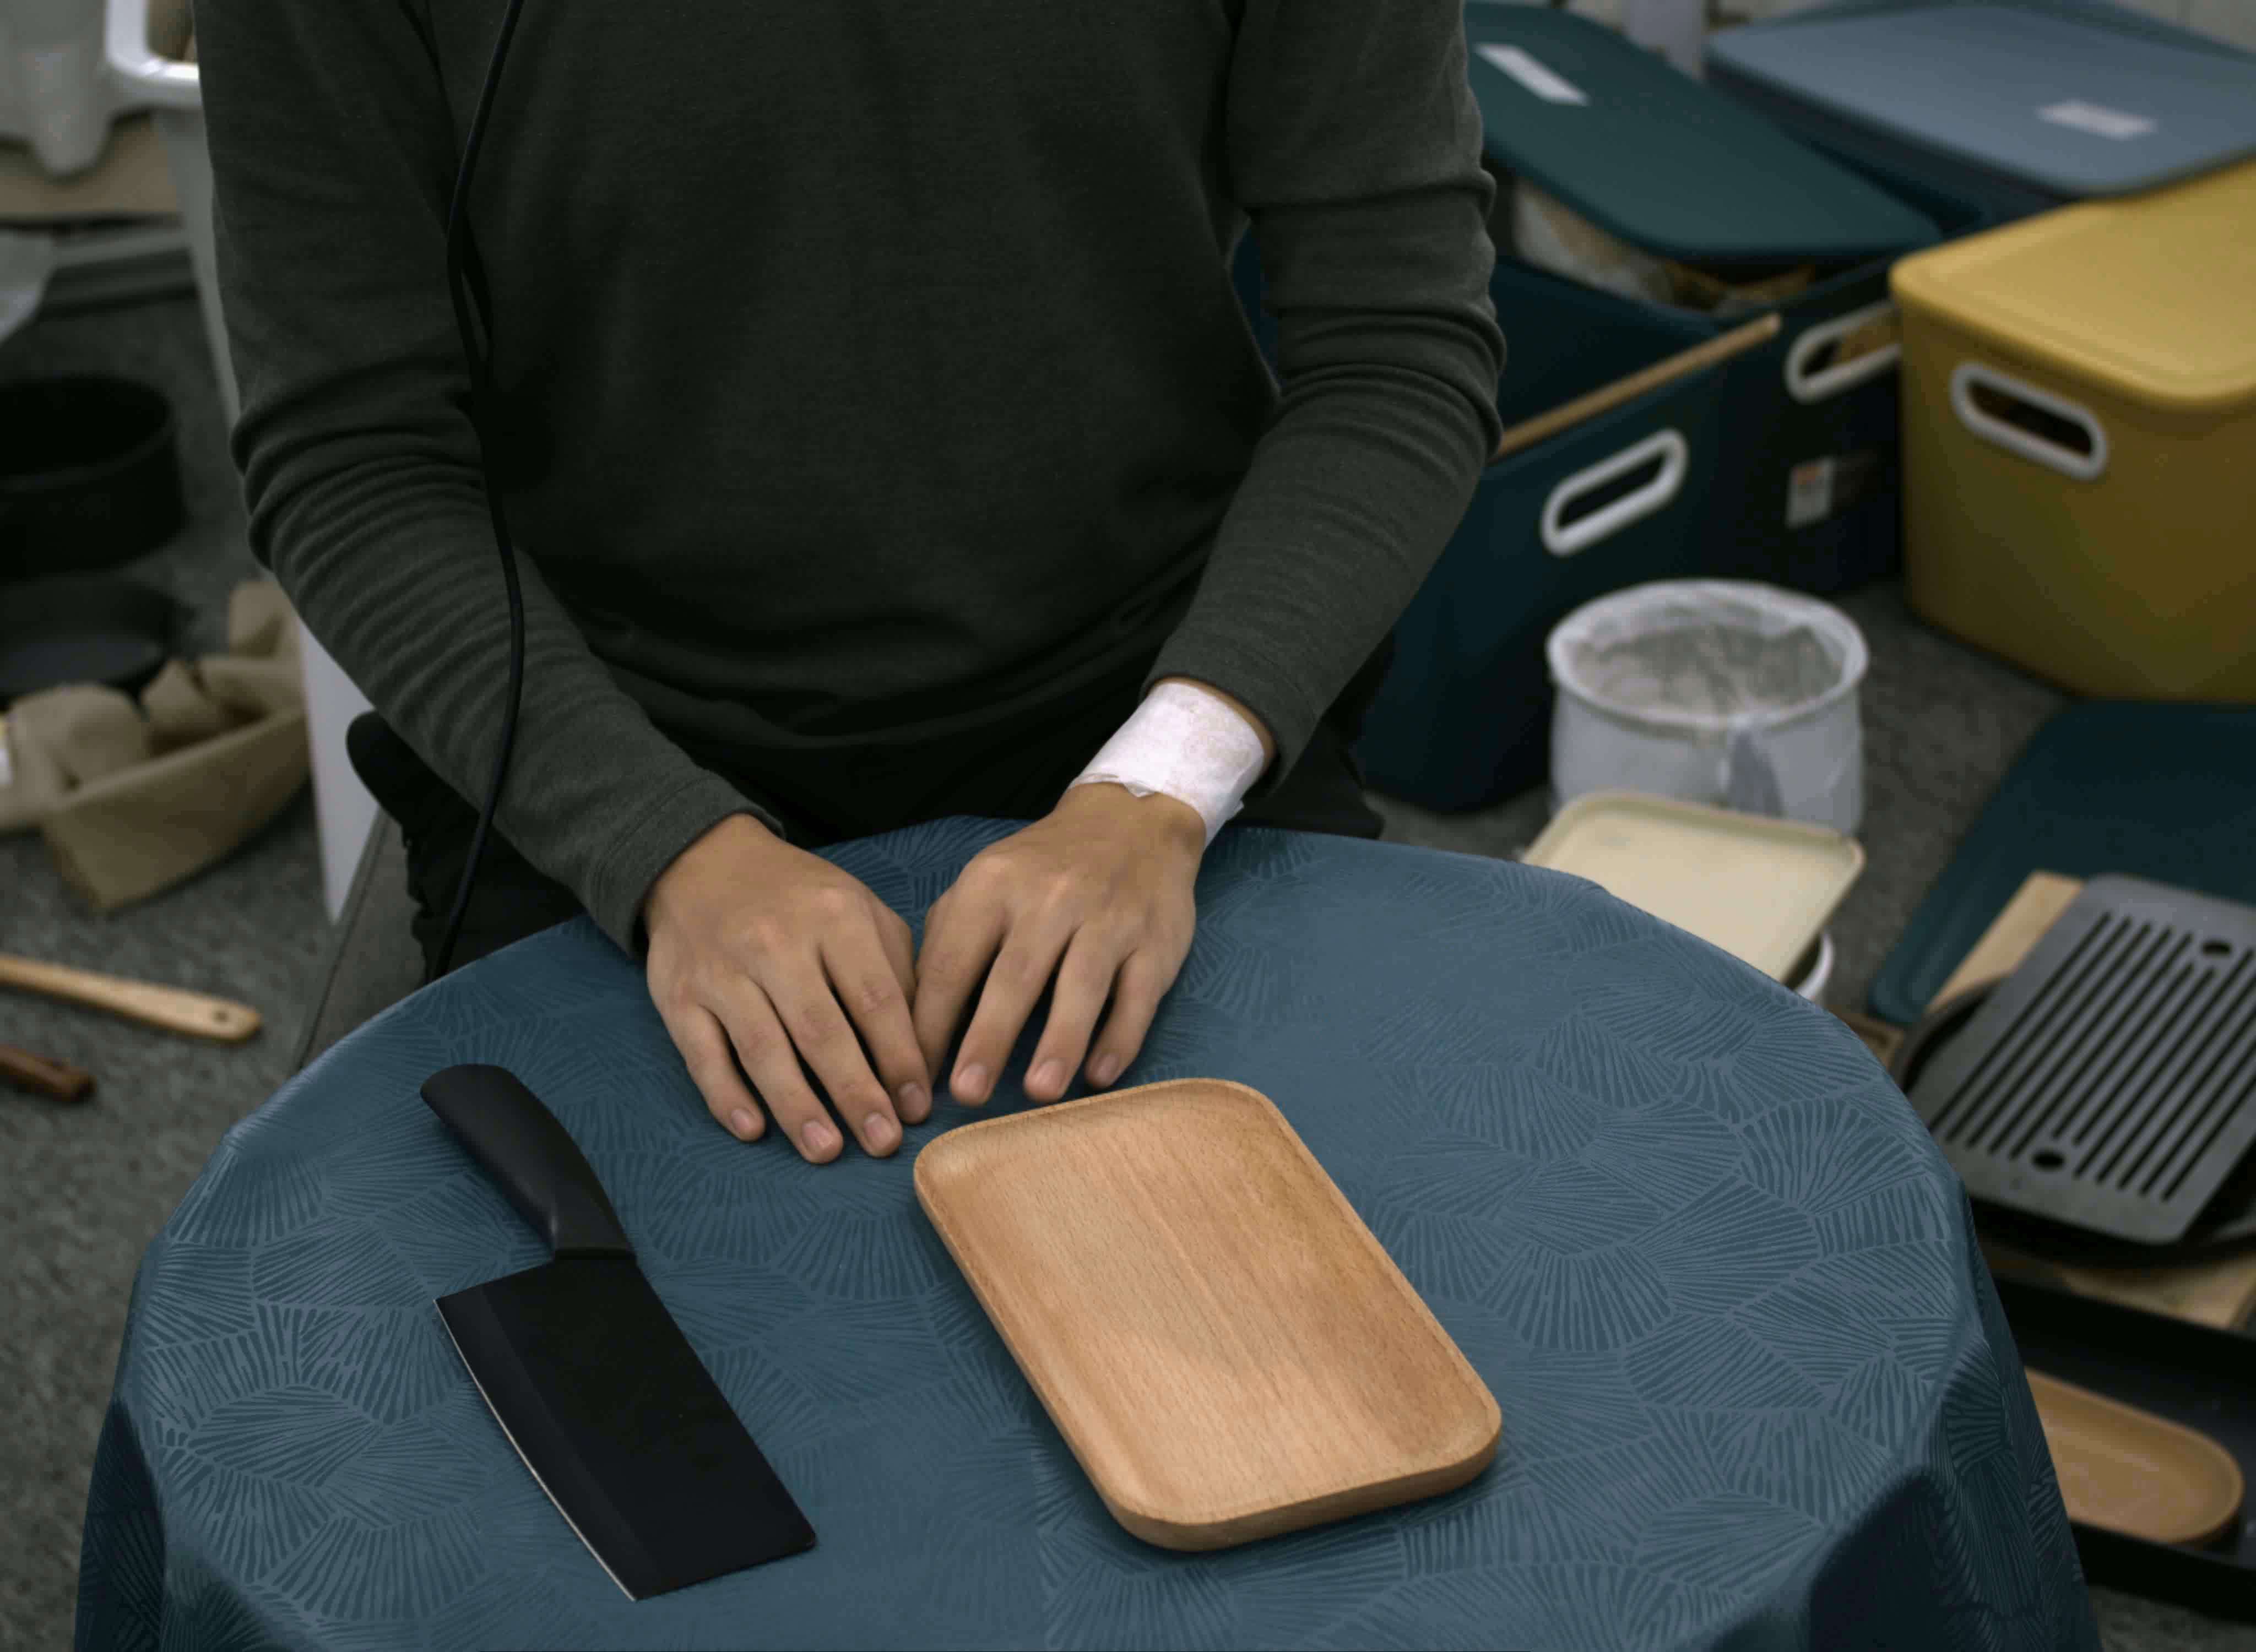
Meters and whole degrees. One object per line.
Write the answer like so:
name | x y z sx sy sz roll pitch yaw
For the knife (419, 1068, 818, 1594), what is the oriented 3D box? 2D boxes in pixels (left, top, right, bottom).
knife | -0.178 0.157 1.795 0.081 0.020 0.305 -12 30 -16

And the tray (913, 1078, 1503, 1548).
tray | 0.021 0.152 1.784 0.131 0.022 0.253 -8 27 -16
